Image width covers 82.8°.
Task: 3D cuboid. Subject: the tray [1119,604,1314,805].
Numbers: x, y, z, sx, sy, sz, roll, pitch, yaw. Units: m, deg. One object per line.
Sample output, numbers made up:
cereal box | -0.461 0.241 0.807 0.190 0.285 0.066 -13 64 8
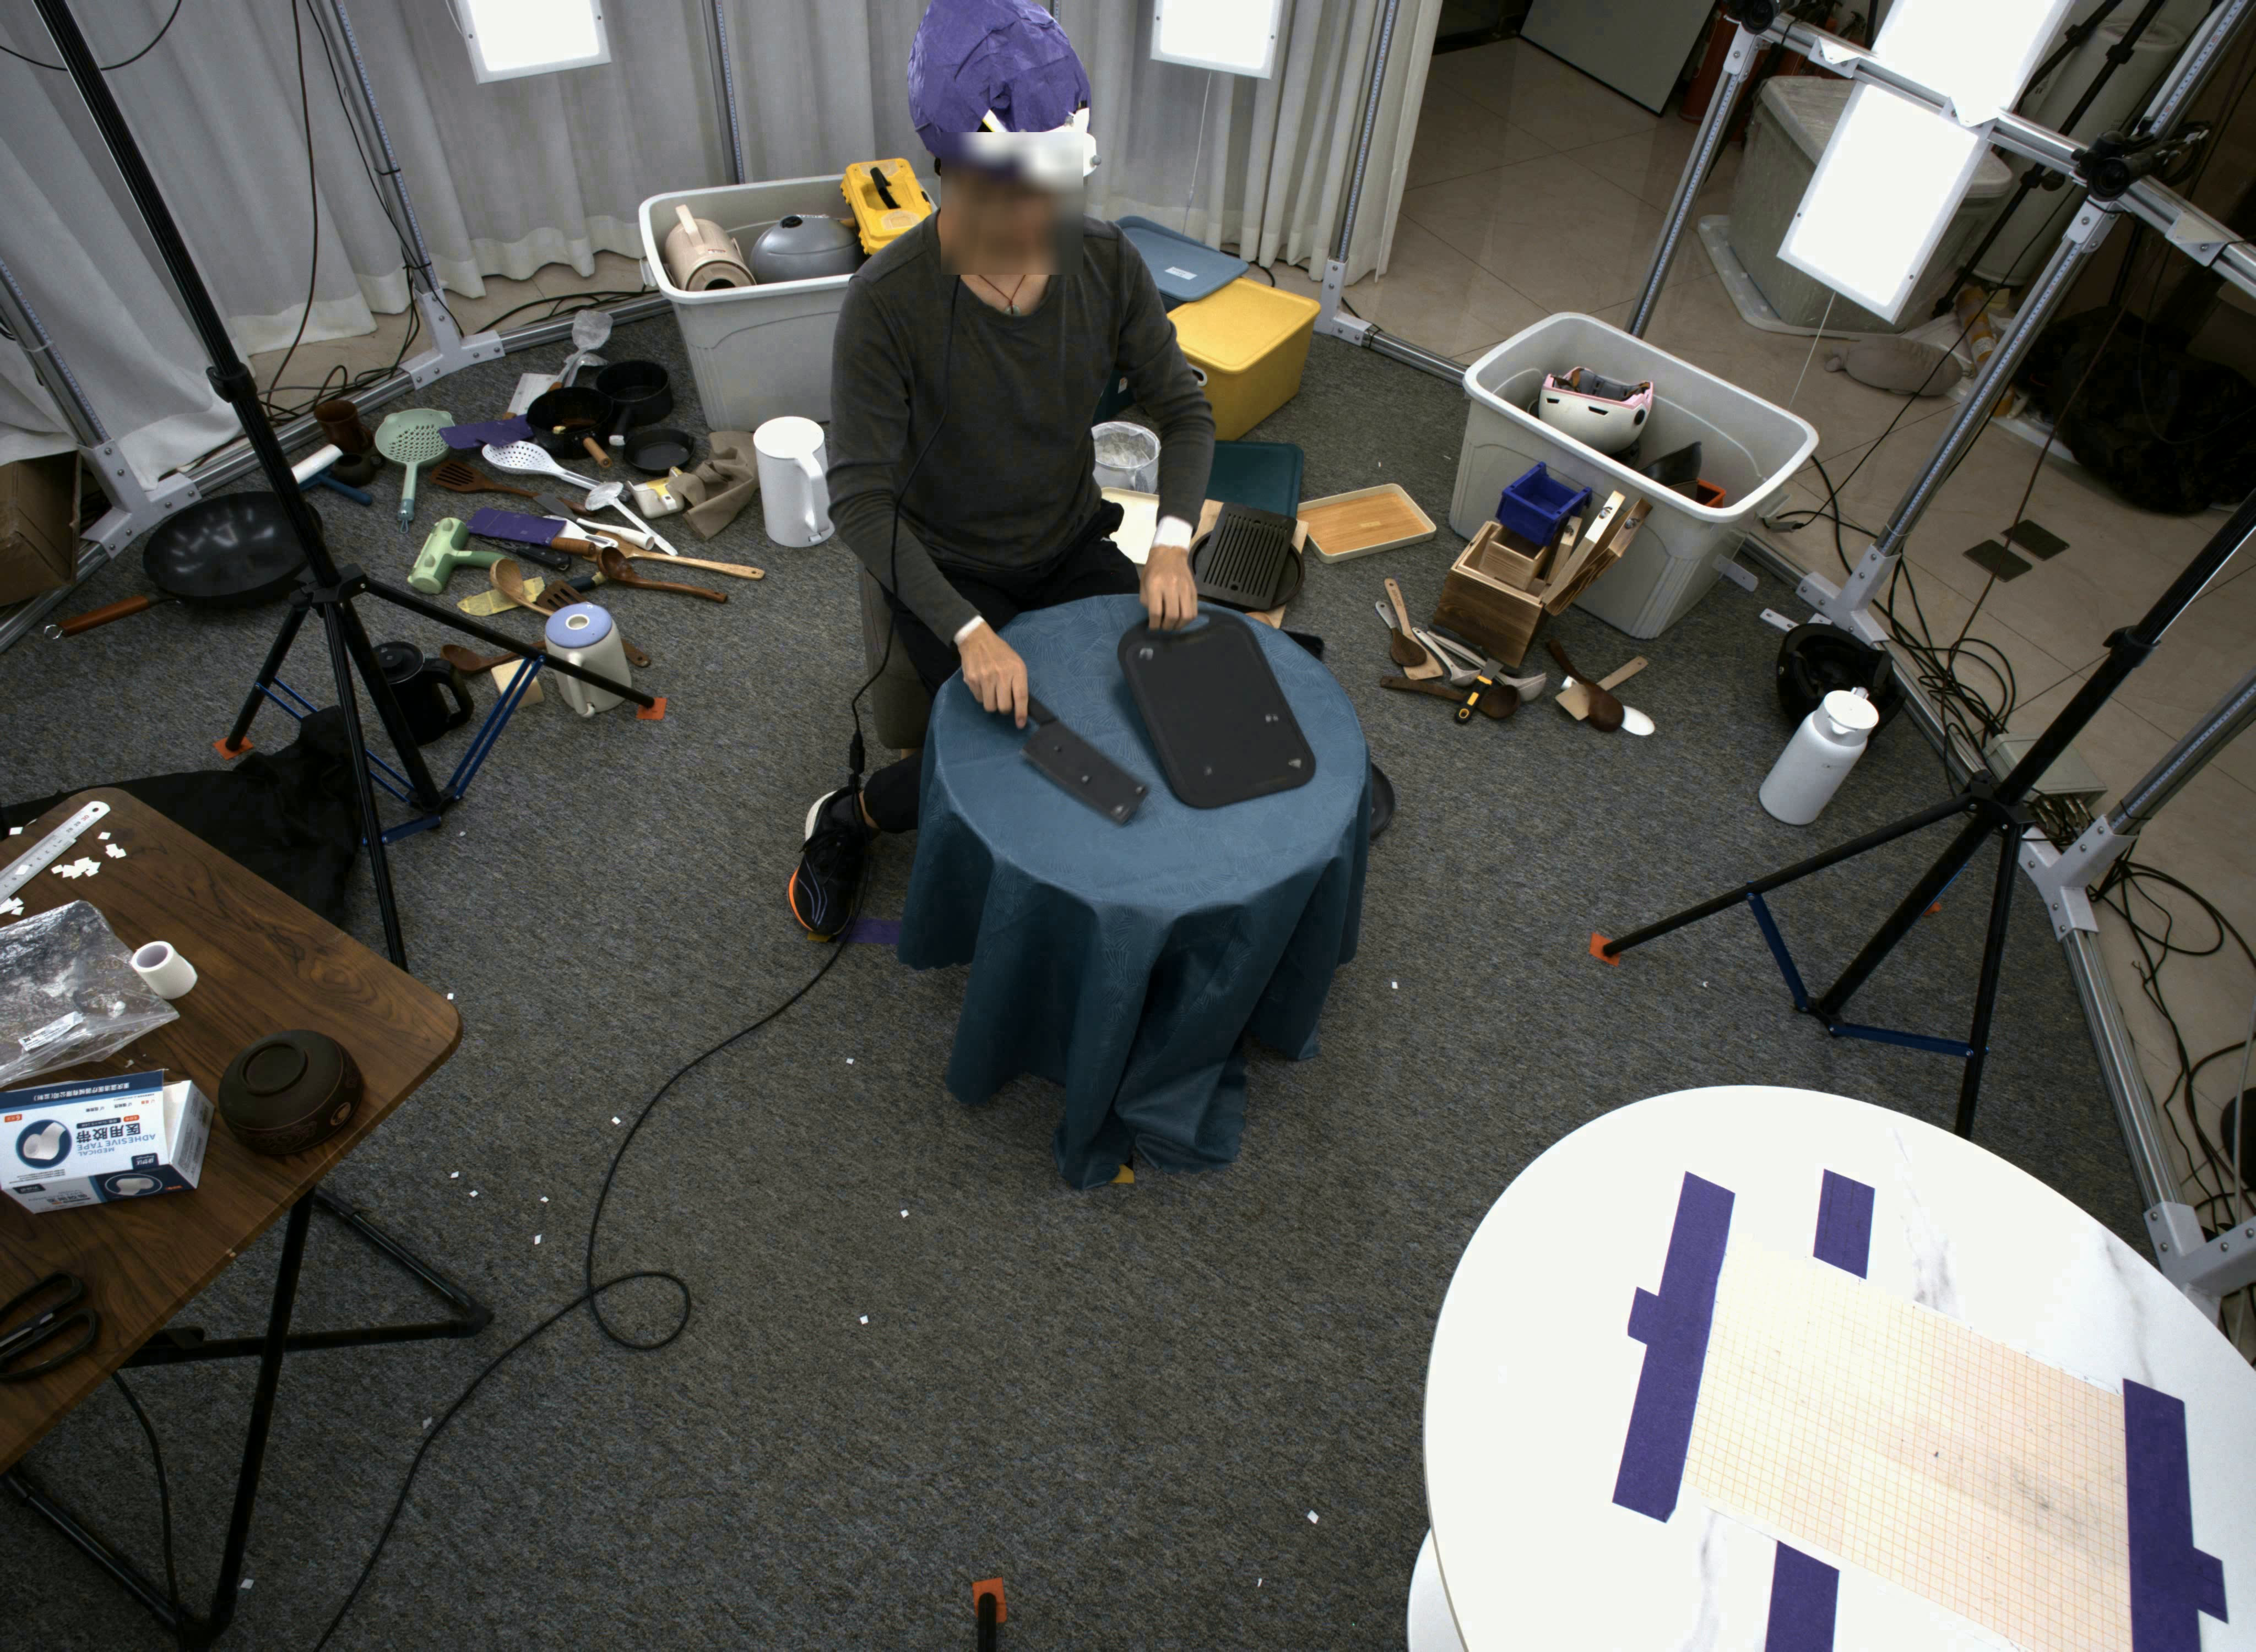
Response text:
tray | 0.117 -0.180 1.787 0.211 0.009 0.332 -12 62 -15

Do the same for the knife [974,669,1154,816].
knife | -0.095 -0.118 1.722 0.306 0.020 0.081 40 81 22
